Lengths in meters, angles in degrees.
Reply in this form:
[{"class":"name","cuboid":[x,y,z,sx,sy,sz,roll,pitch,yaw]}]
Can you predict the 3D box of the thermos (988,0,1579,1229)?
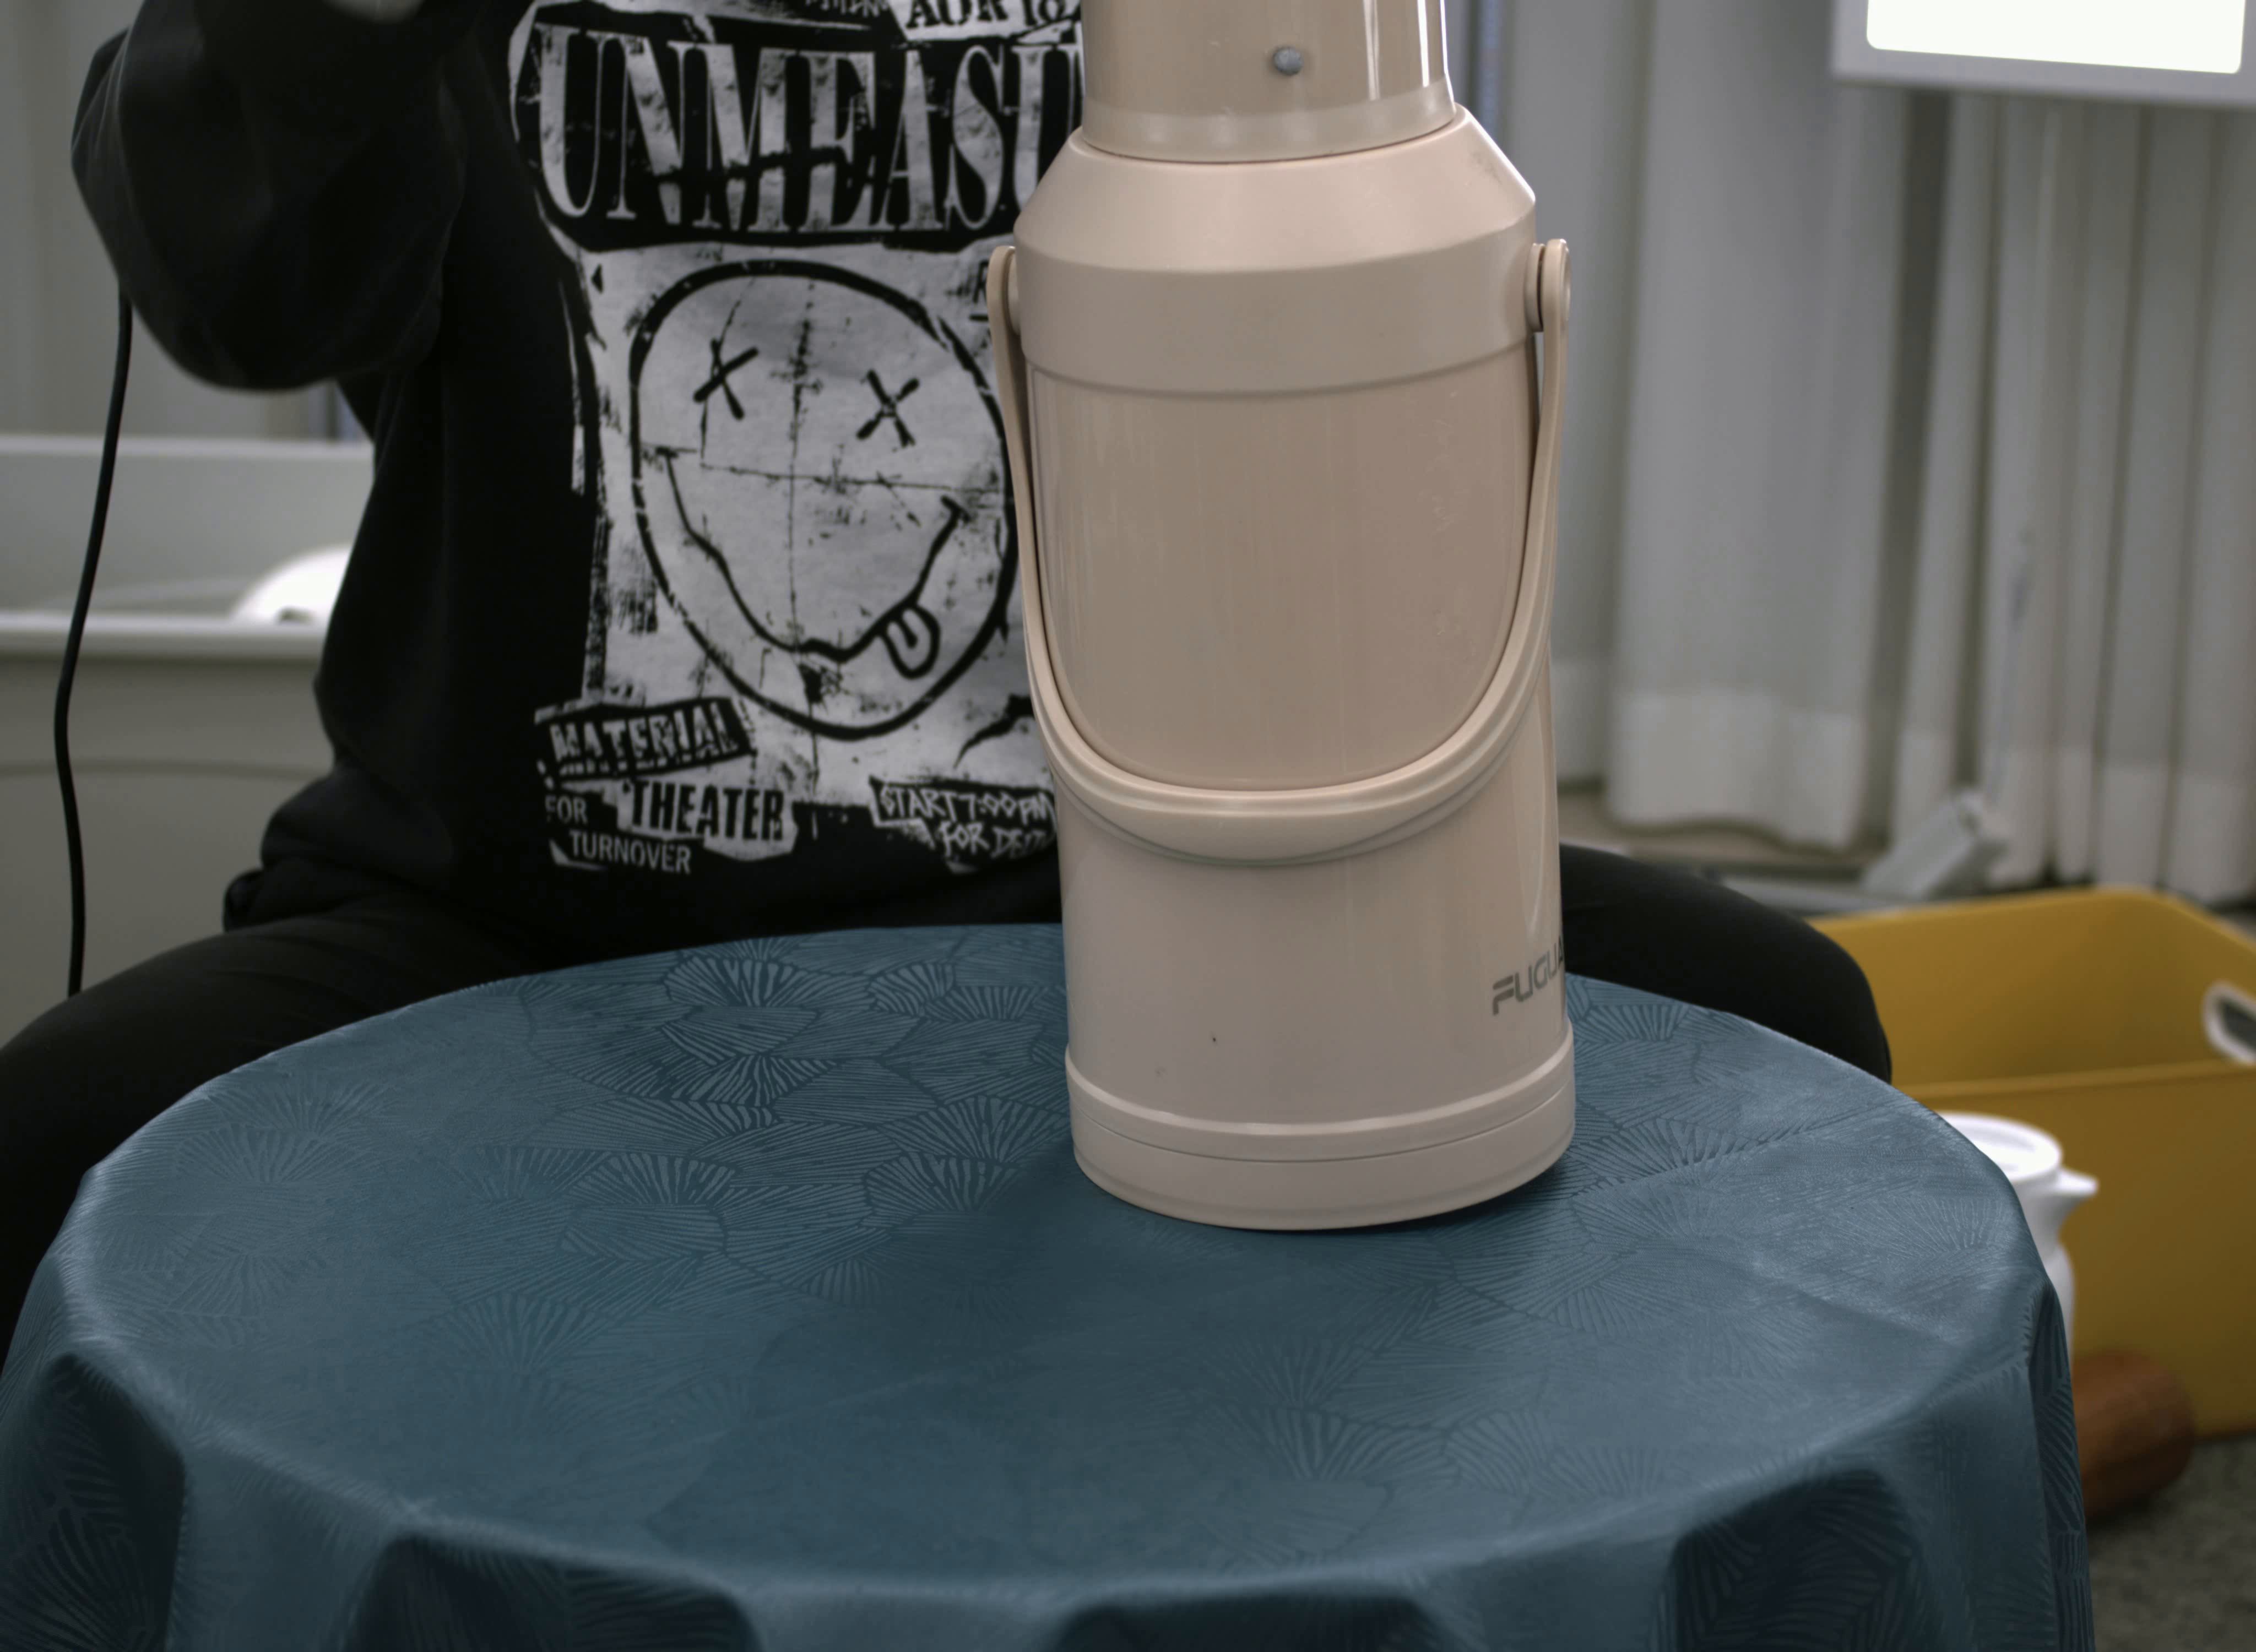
[{"class":"thermos","cuboid":[0.054,-0.096,1.608,0.174,0.410,0.206,-1,19,12]}]
